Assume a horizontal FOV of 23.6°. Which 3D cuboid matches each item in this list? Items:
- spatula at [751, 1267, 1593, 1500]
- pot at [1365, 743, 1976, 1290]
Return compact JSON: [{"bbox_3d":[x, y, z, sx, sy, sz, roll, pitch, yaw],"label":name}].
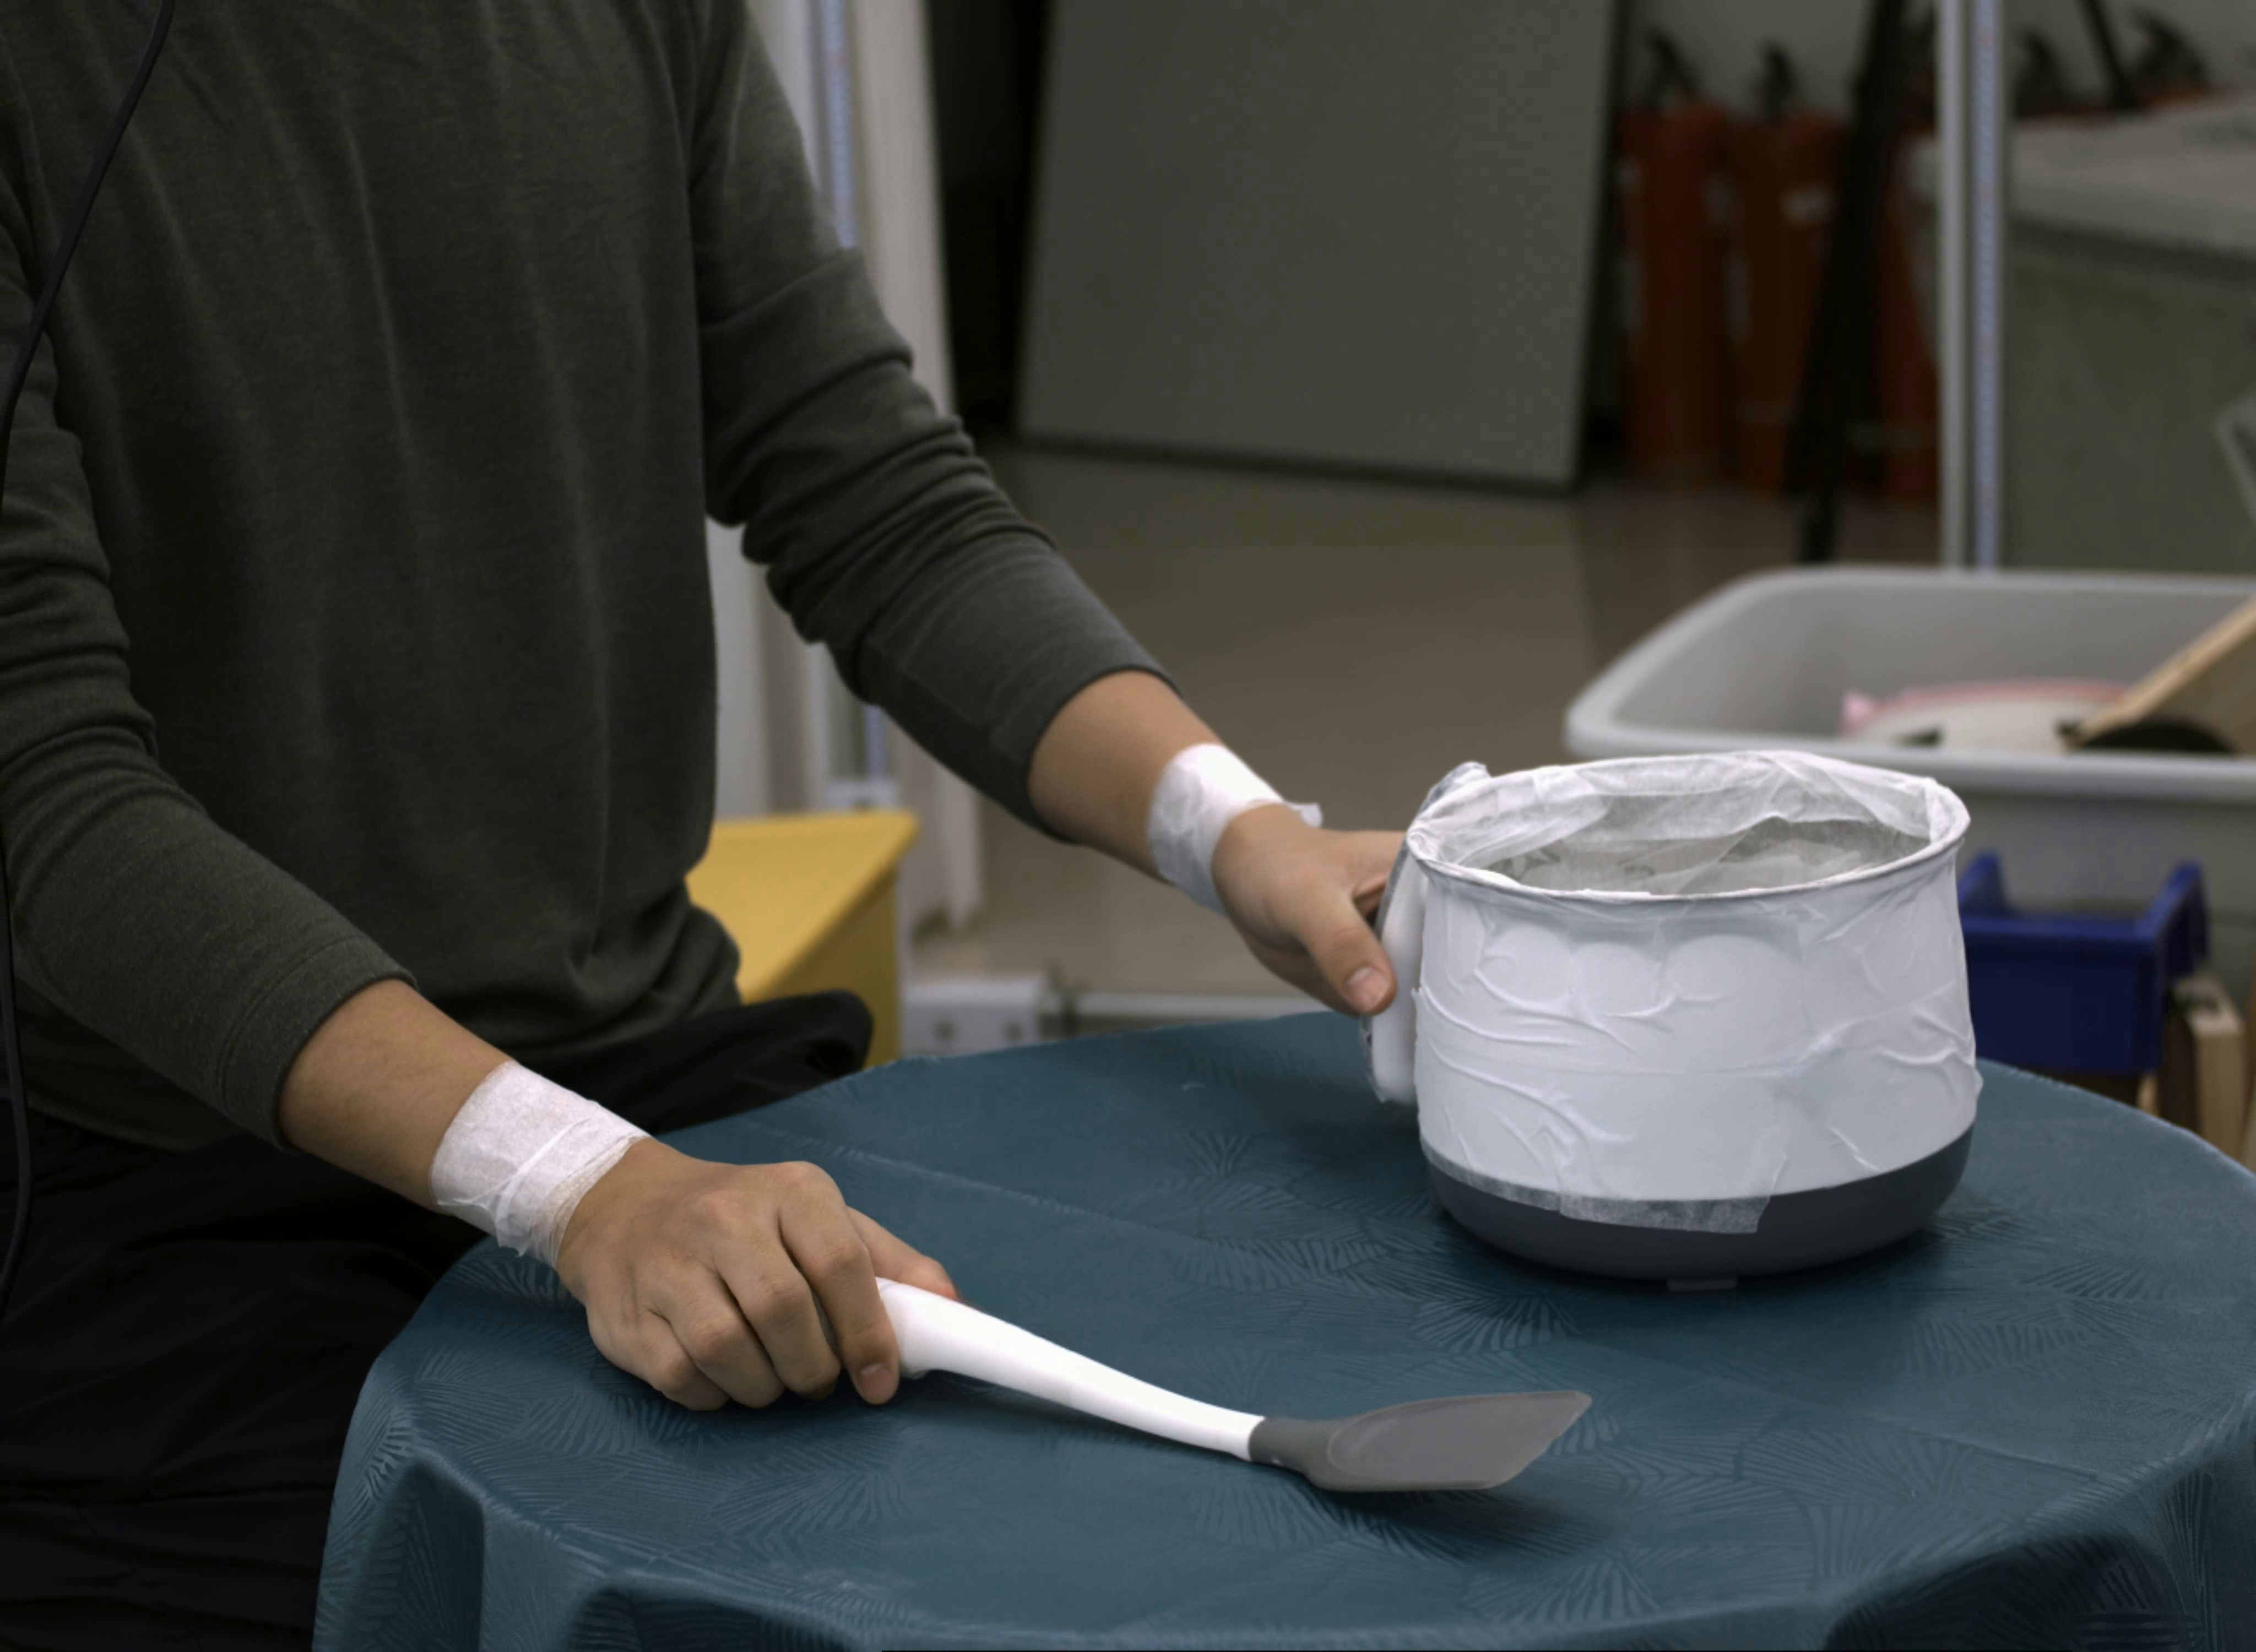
[{"bbox_3d":[0.007,0.161,1.540,0.290,0.032,0.058,6,27,40],"label":"spatula"},{"bbox_3d":[0.160,0.054,1.710,0.175,0.138,0.236,-14,17,-38],"label":"pot"}]
